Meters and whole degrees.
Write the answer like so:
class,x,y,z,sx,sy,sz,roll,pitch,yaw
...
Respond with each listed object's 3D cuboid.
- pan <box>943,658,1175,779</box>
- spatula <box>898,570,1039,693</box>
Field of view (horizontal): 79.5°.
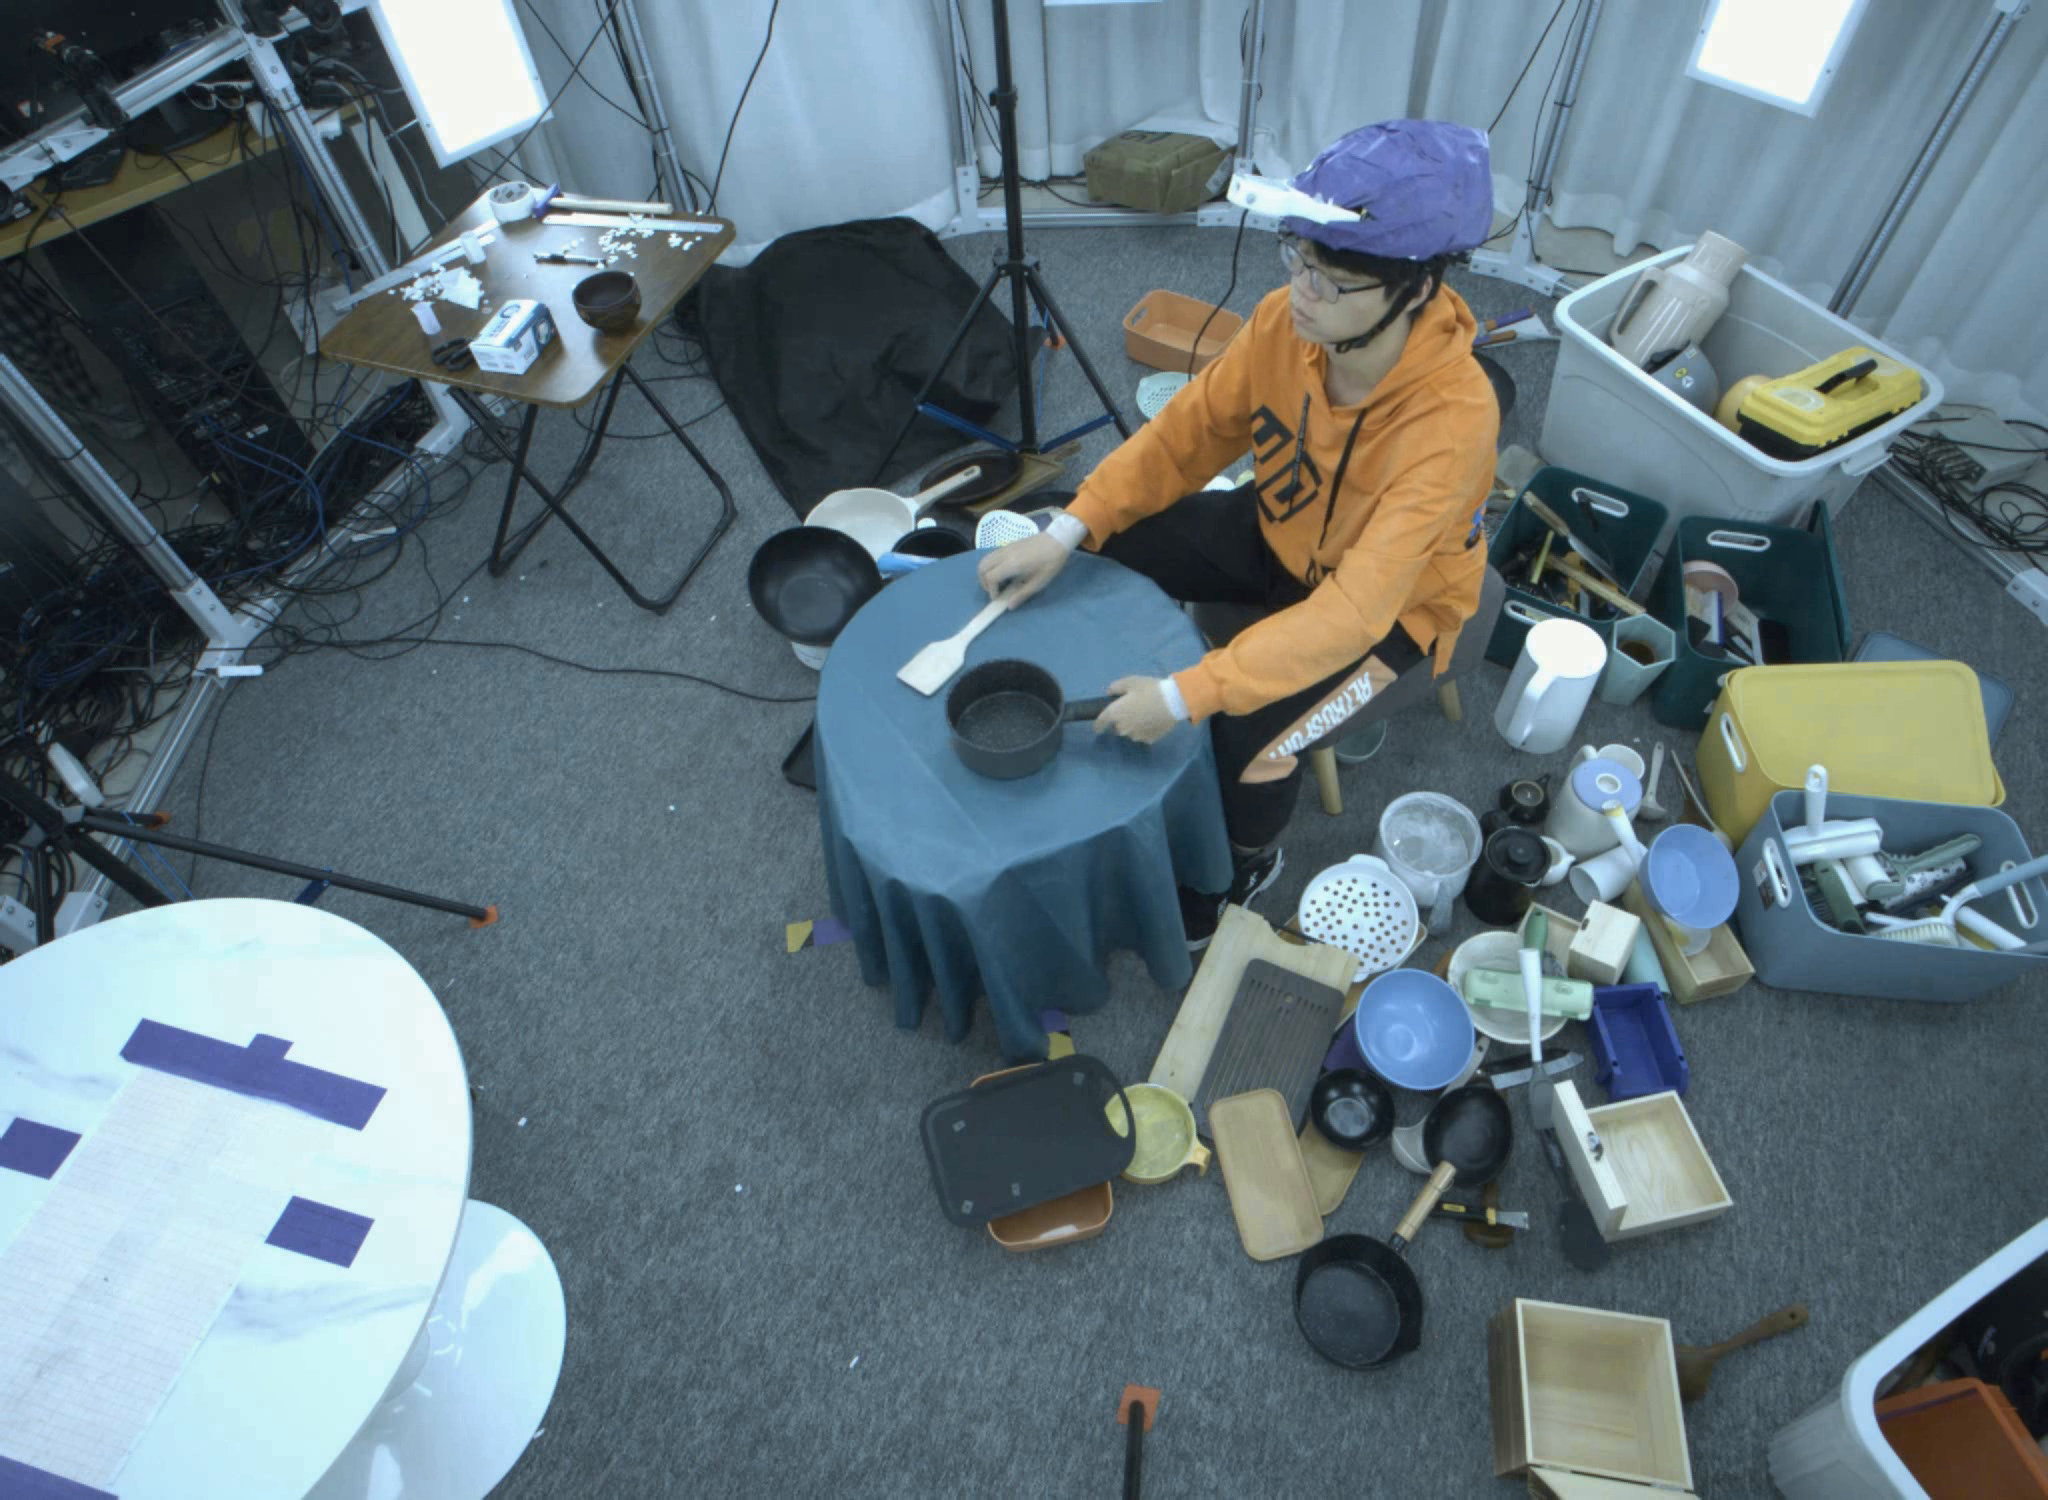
class,x,y,z,sx,sy,sz,roll,pitch,yaw
pan,0.053,-0.046,1.766,0.328,0.087,0.170,0,56,5
spatula,-0.077,-0.193,1.920,0.071,0.011,0.294,32,62,25
